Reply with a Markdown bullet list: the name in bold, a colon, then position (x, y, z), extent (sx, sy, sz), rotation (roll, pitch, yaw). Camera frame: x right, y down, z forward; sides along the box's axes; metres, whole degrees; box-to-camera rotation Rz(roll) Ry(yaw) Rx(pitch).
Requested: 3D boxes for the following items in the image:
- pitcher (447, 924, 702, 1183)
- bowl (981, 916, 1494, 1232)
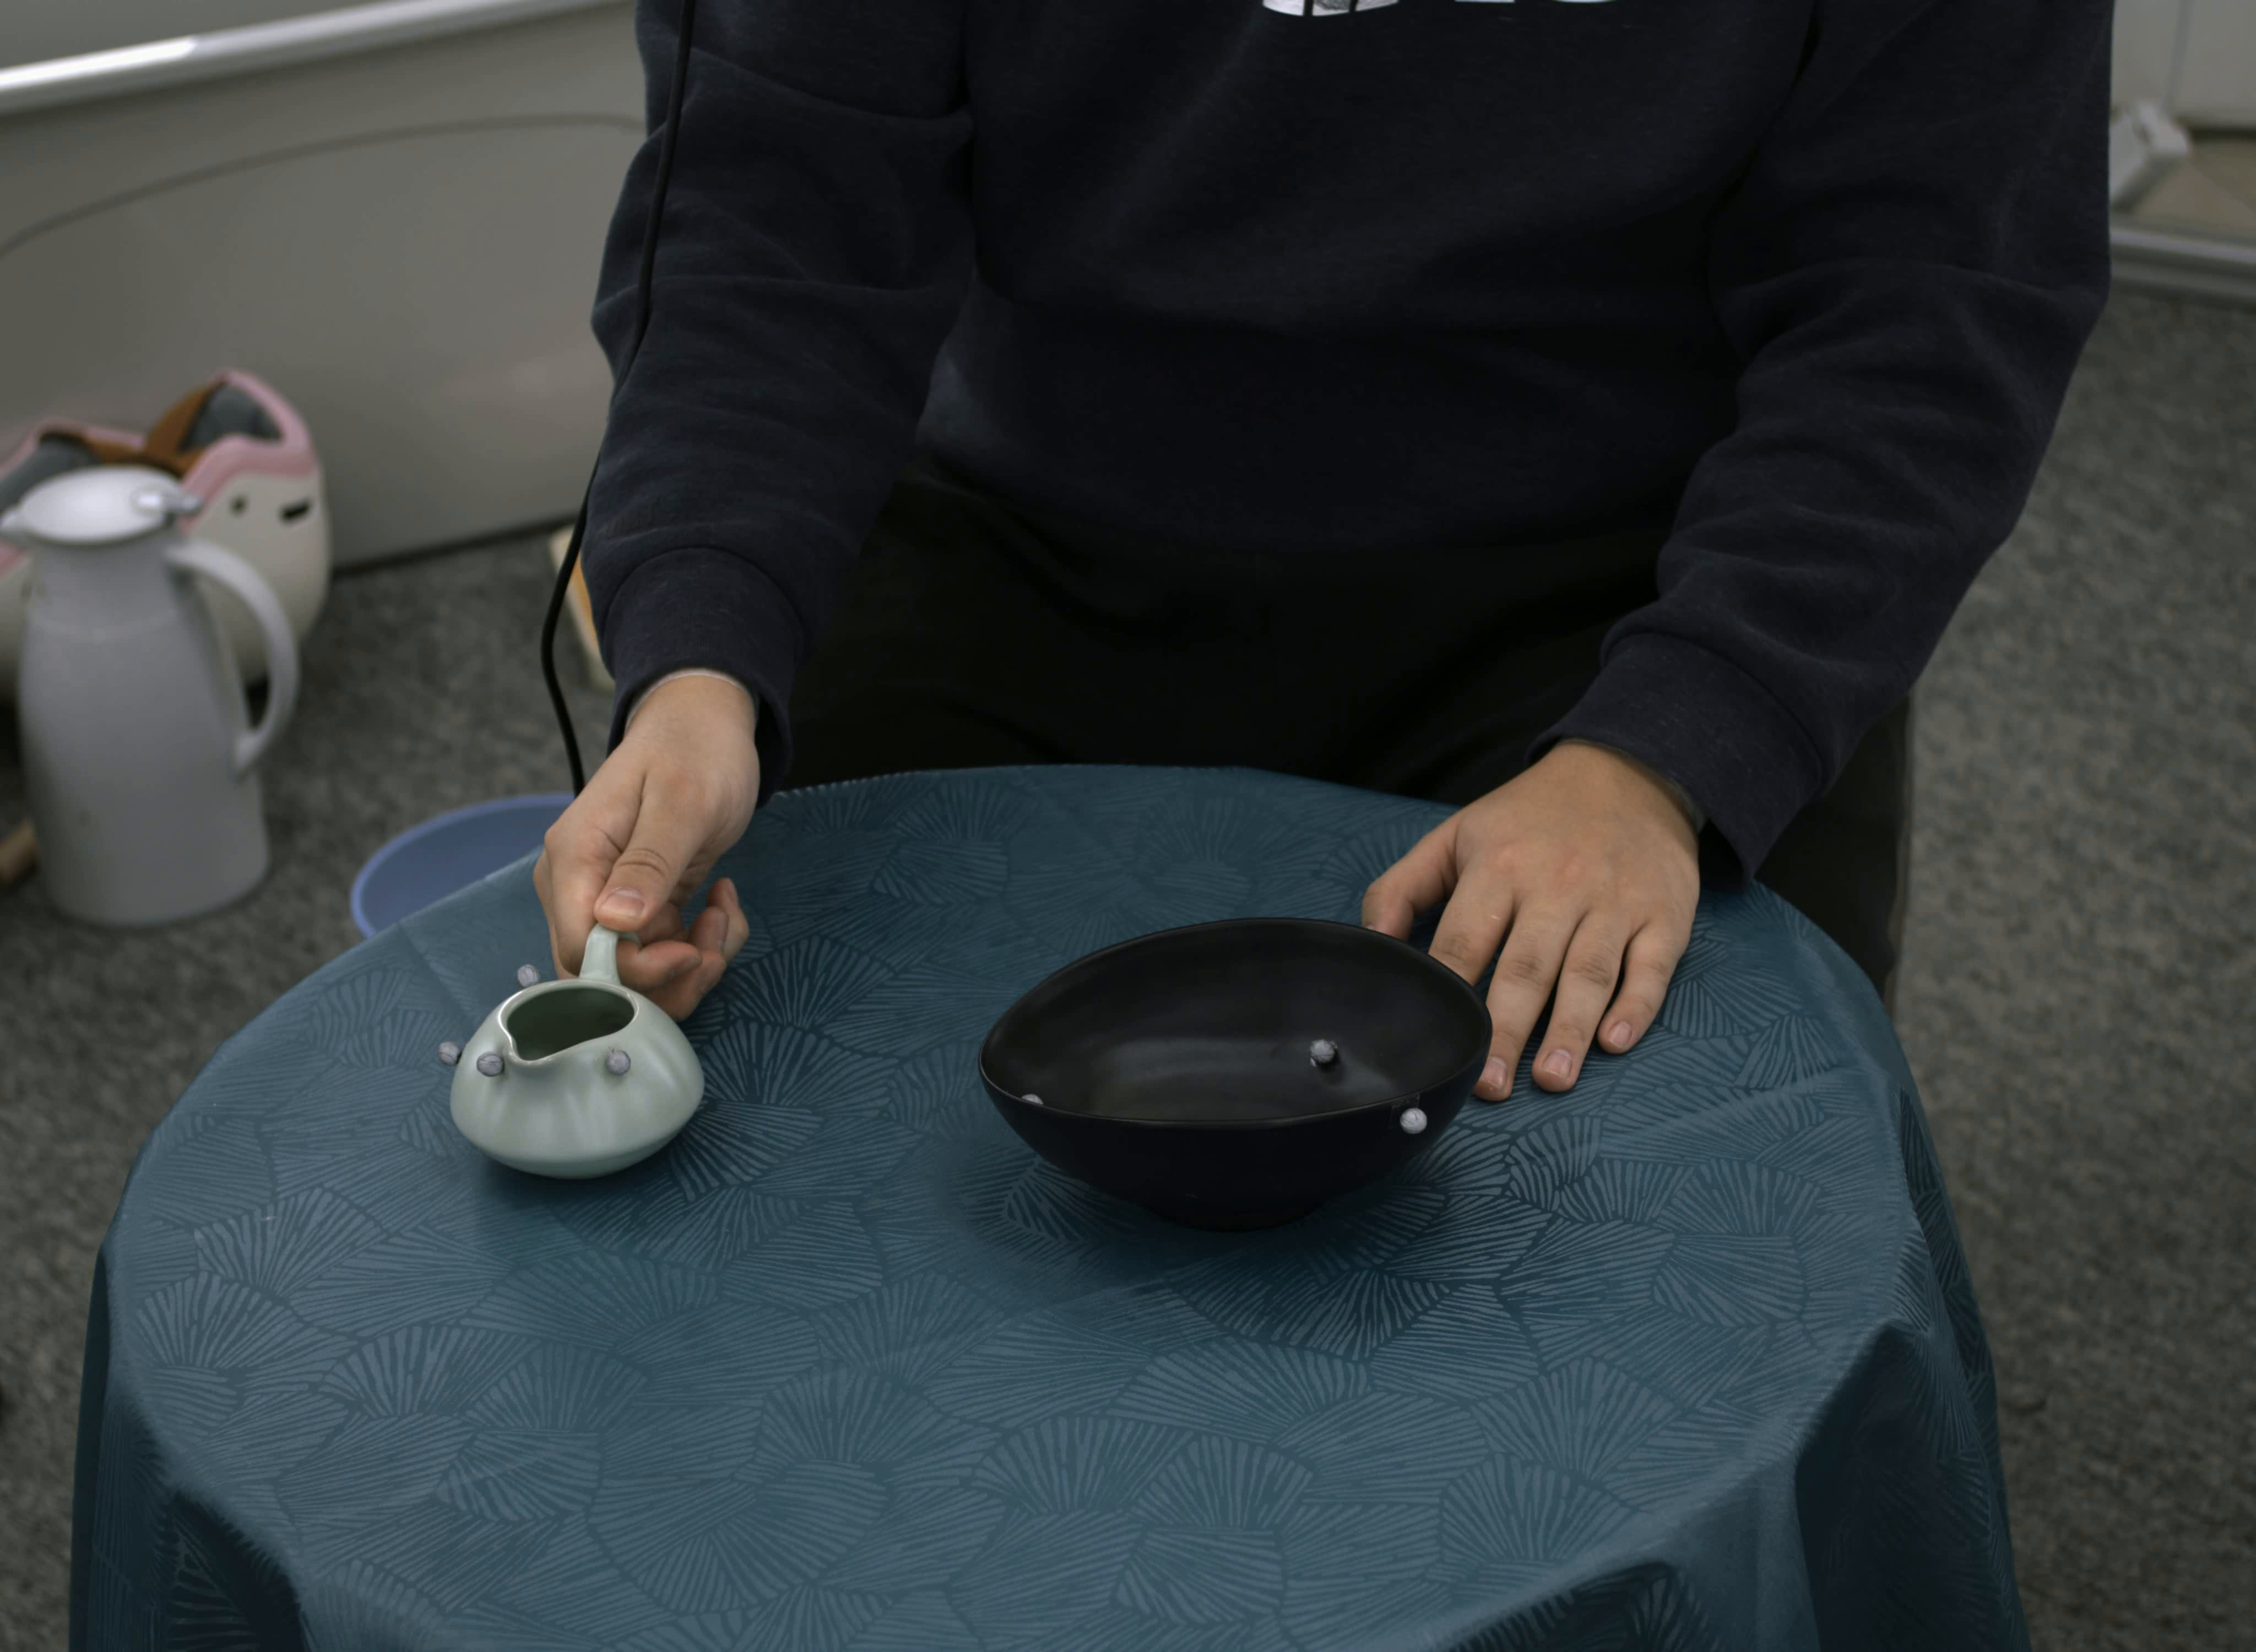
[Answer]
- **pitcher**: position (-0.185, 0.079, 1.904), extent (0.085, 0.060, 0.110), rotation (4, 26, 10)
- **bowl**: position (0.037, 0.091, 1.854), extent (0.169, 0.066, 0.139), rotation (-3, 26, 2)
